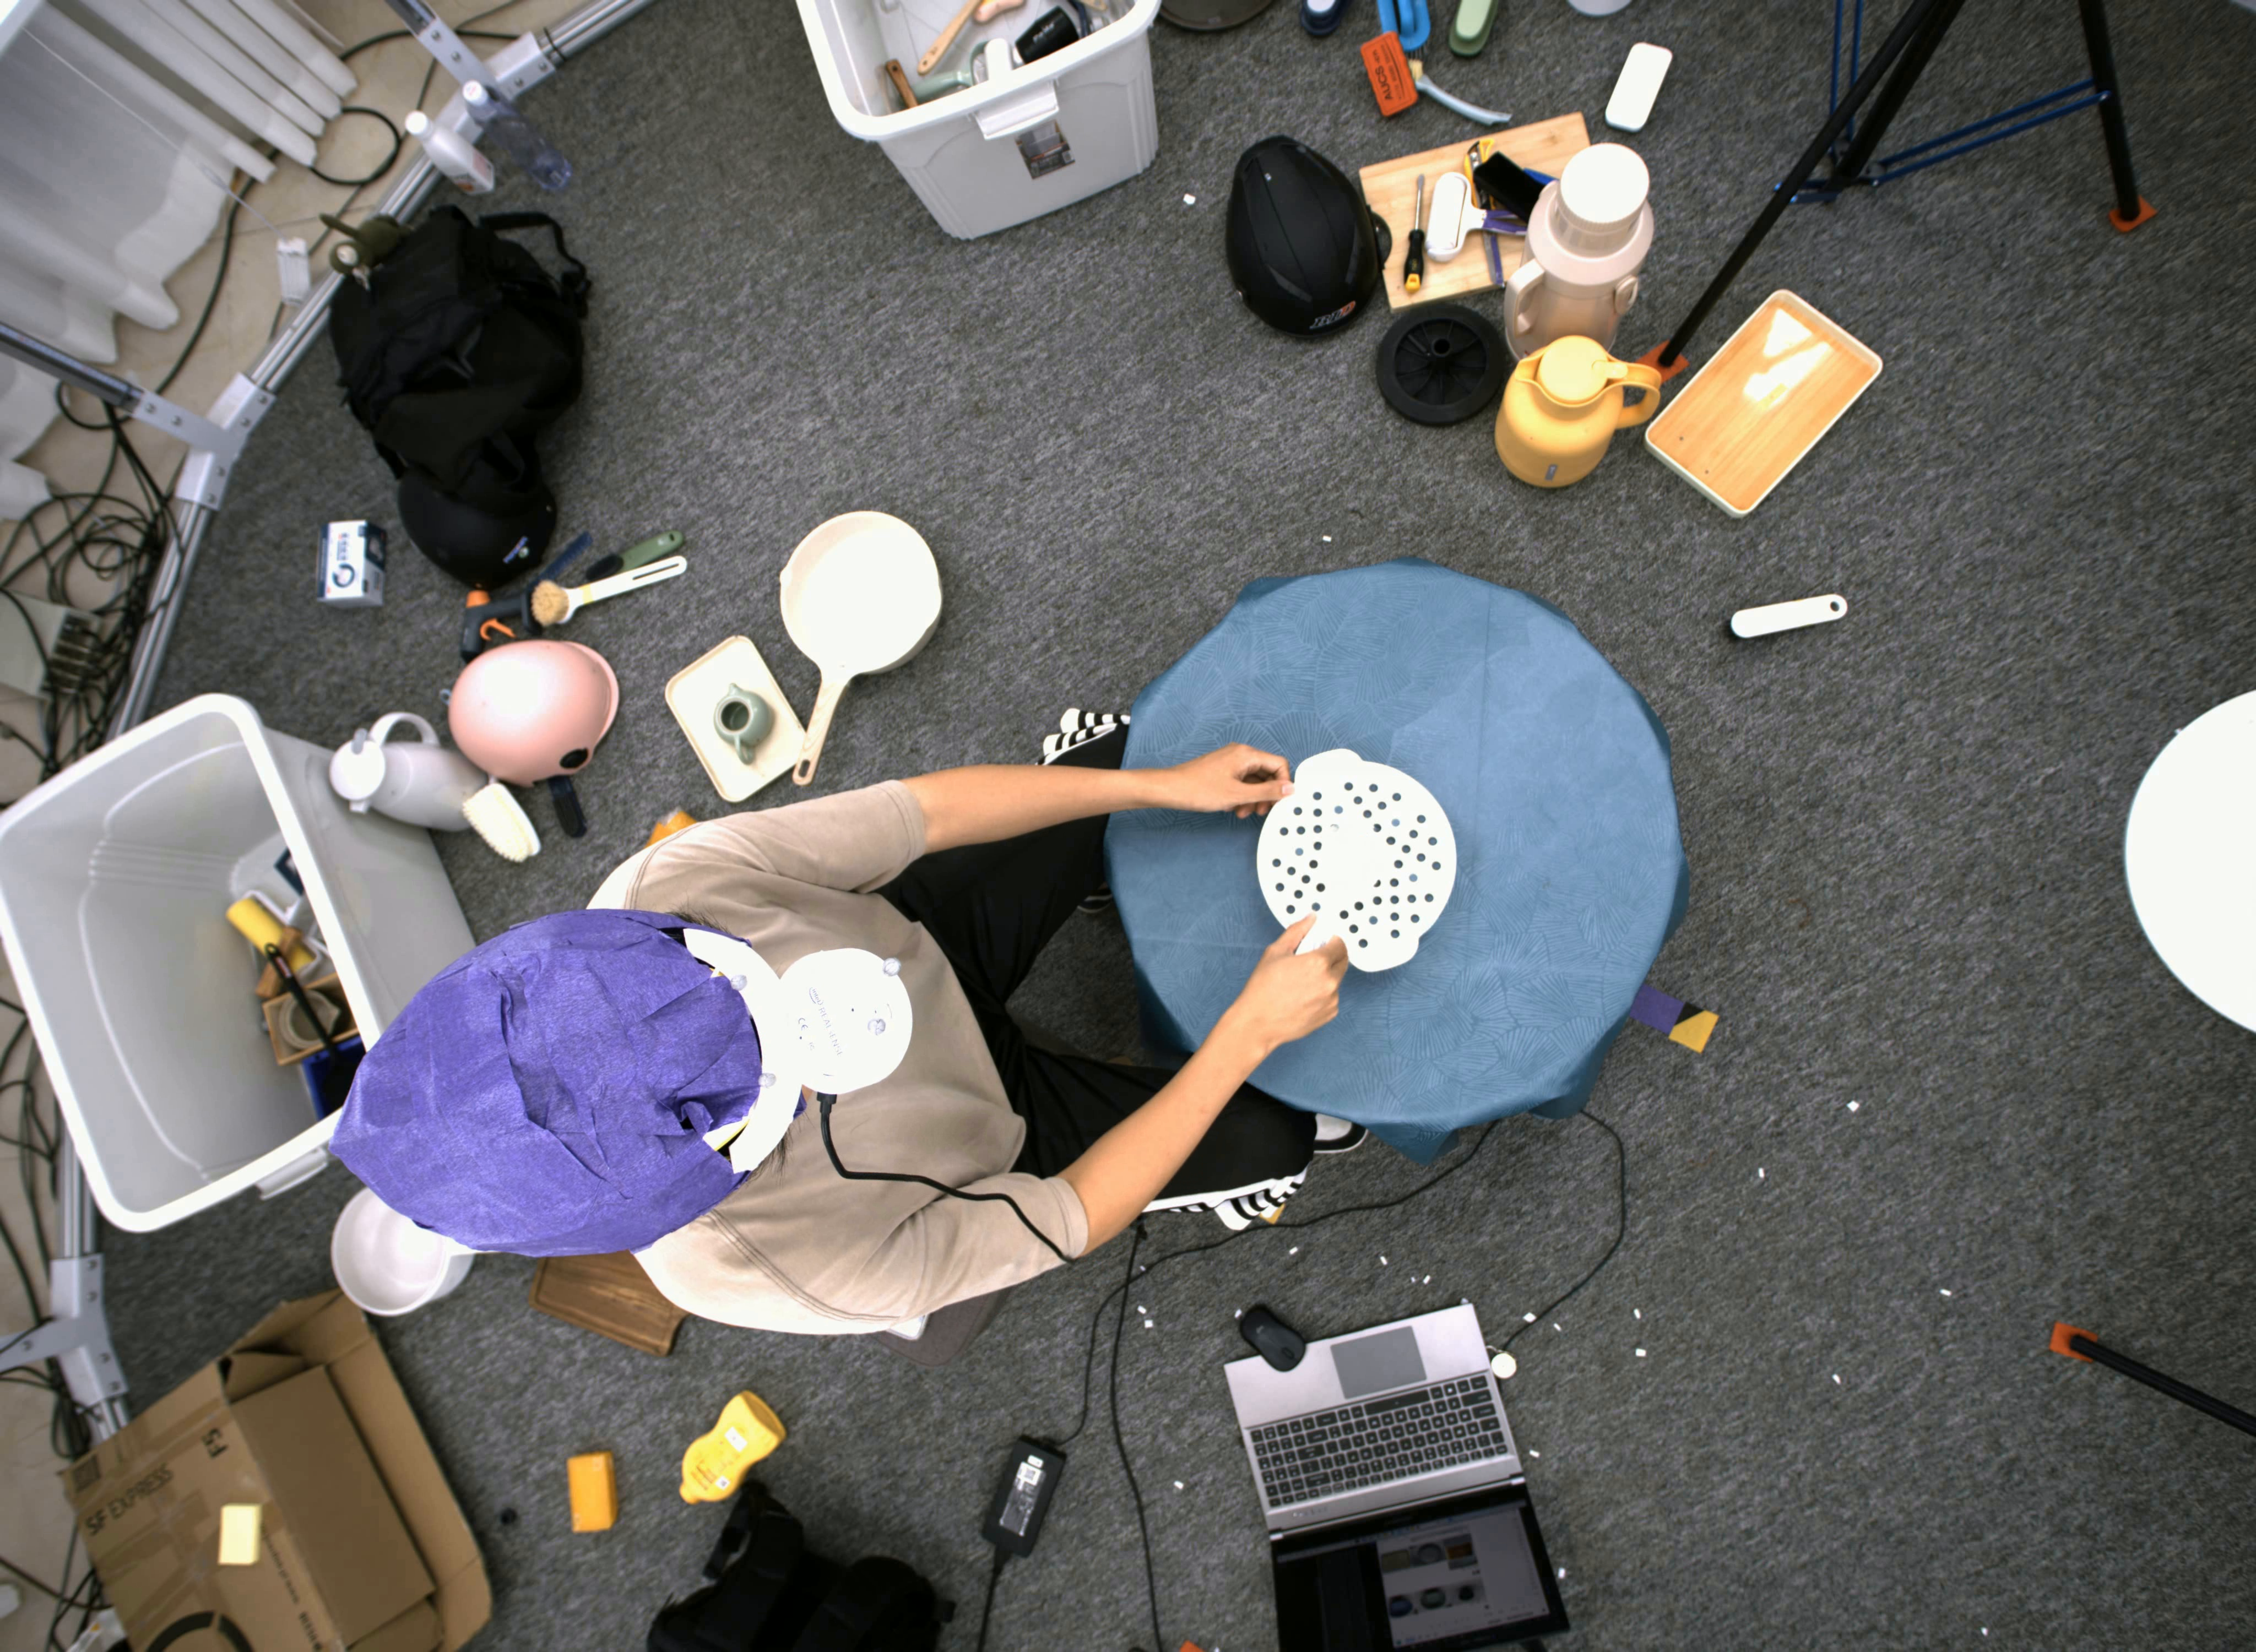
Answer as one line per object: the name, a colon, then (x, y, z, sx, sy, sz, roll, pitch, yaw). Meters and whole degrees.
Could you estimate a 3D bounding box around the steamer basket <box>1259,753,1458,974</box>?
steamer basket: (0.239, 0.040, 1.437, 0.203, 0.069, 0.228, -17, 81, 9)

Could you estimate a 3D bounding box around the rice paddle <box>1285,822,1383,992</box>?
rice paddle: (0.205, 0.074, 1.386, 0.069, 0.030, 0.200, 28, 60, -1)
